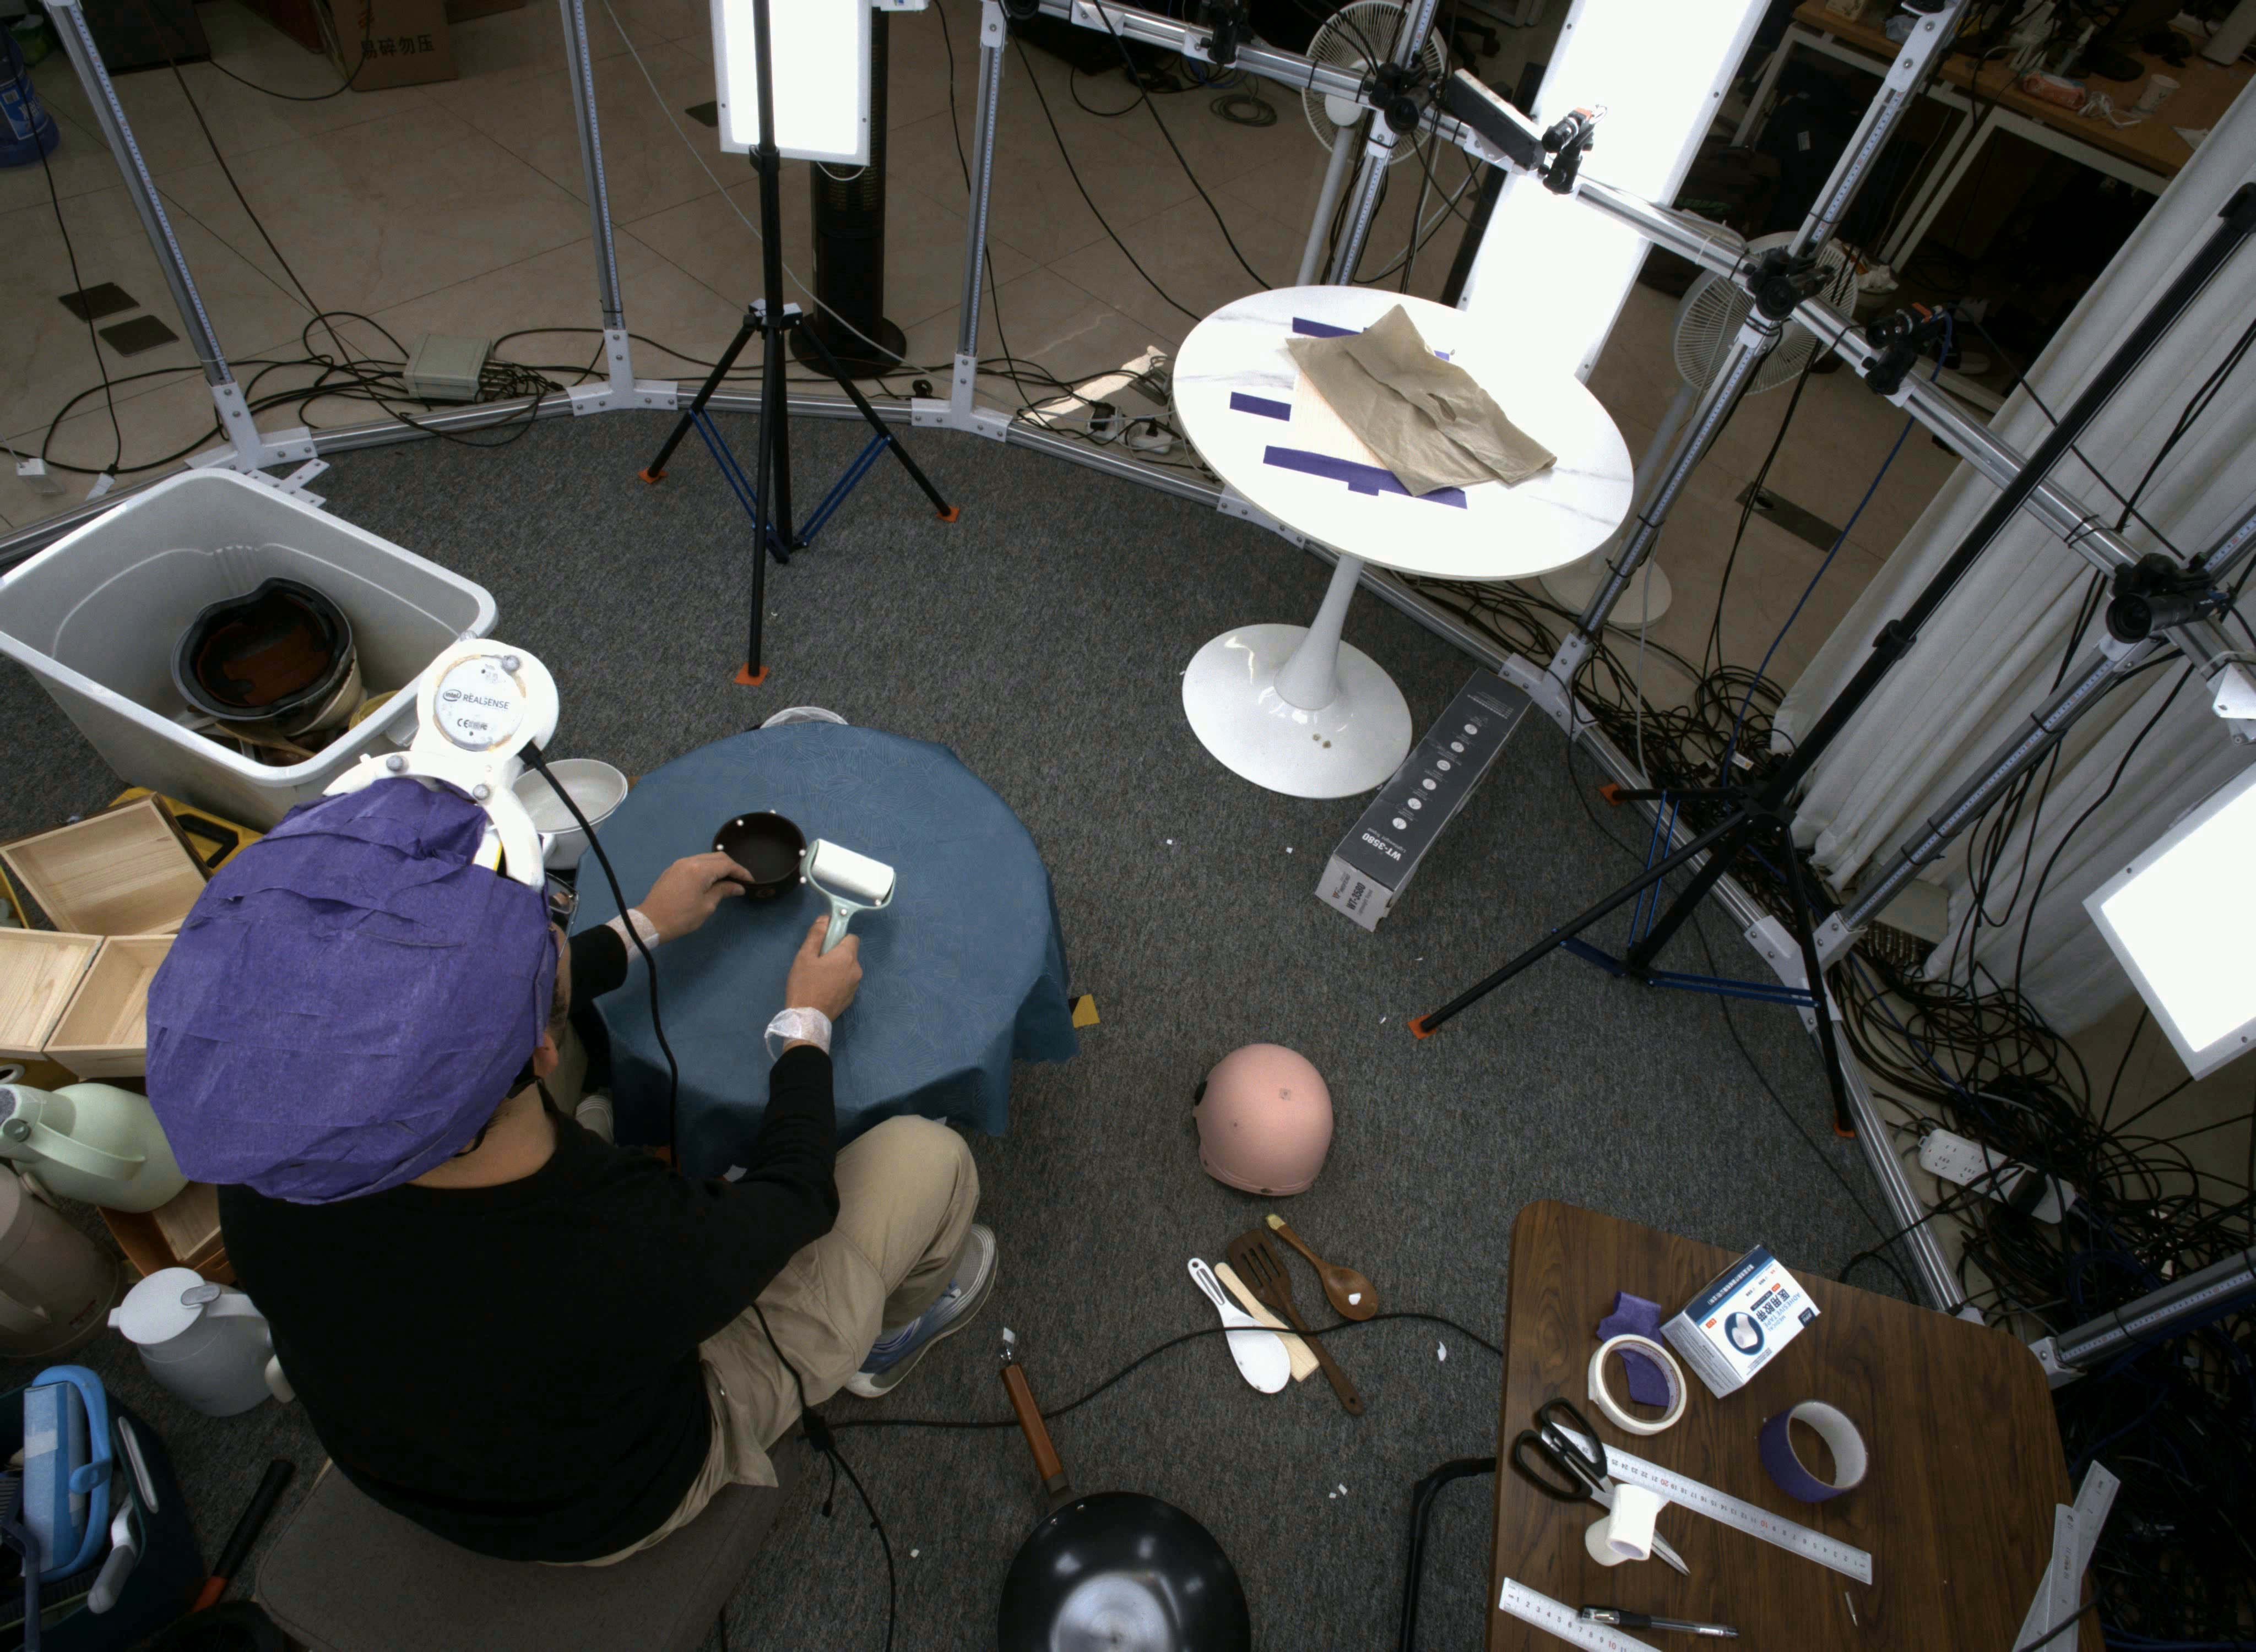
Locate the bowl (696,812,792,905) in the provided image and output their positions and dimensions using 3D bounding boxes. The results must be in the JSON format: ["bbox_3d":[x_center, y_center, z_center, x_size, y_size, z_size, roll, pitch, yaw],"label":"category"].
[{"bbox_3d":[-0.479,0.047,1.622,0.118,0.071,0.116,8,53,-9],"label":"bowl"}]

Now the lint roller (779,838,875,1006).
[{"bbox_3d":[-0.377,0.116,1.562,0.119,0.048,0.195,23,58,-29],"label":"lint roller"}]
